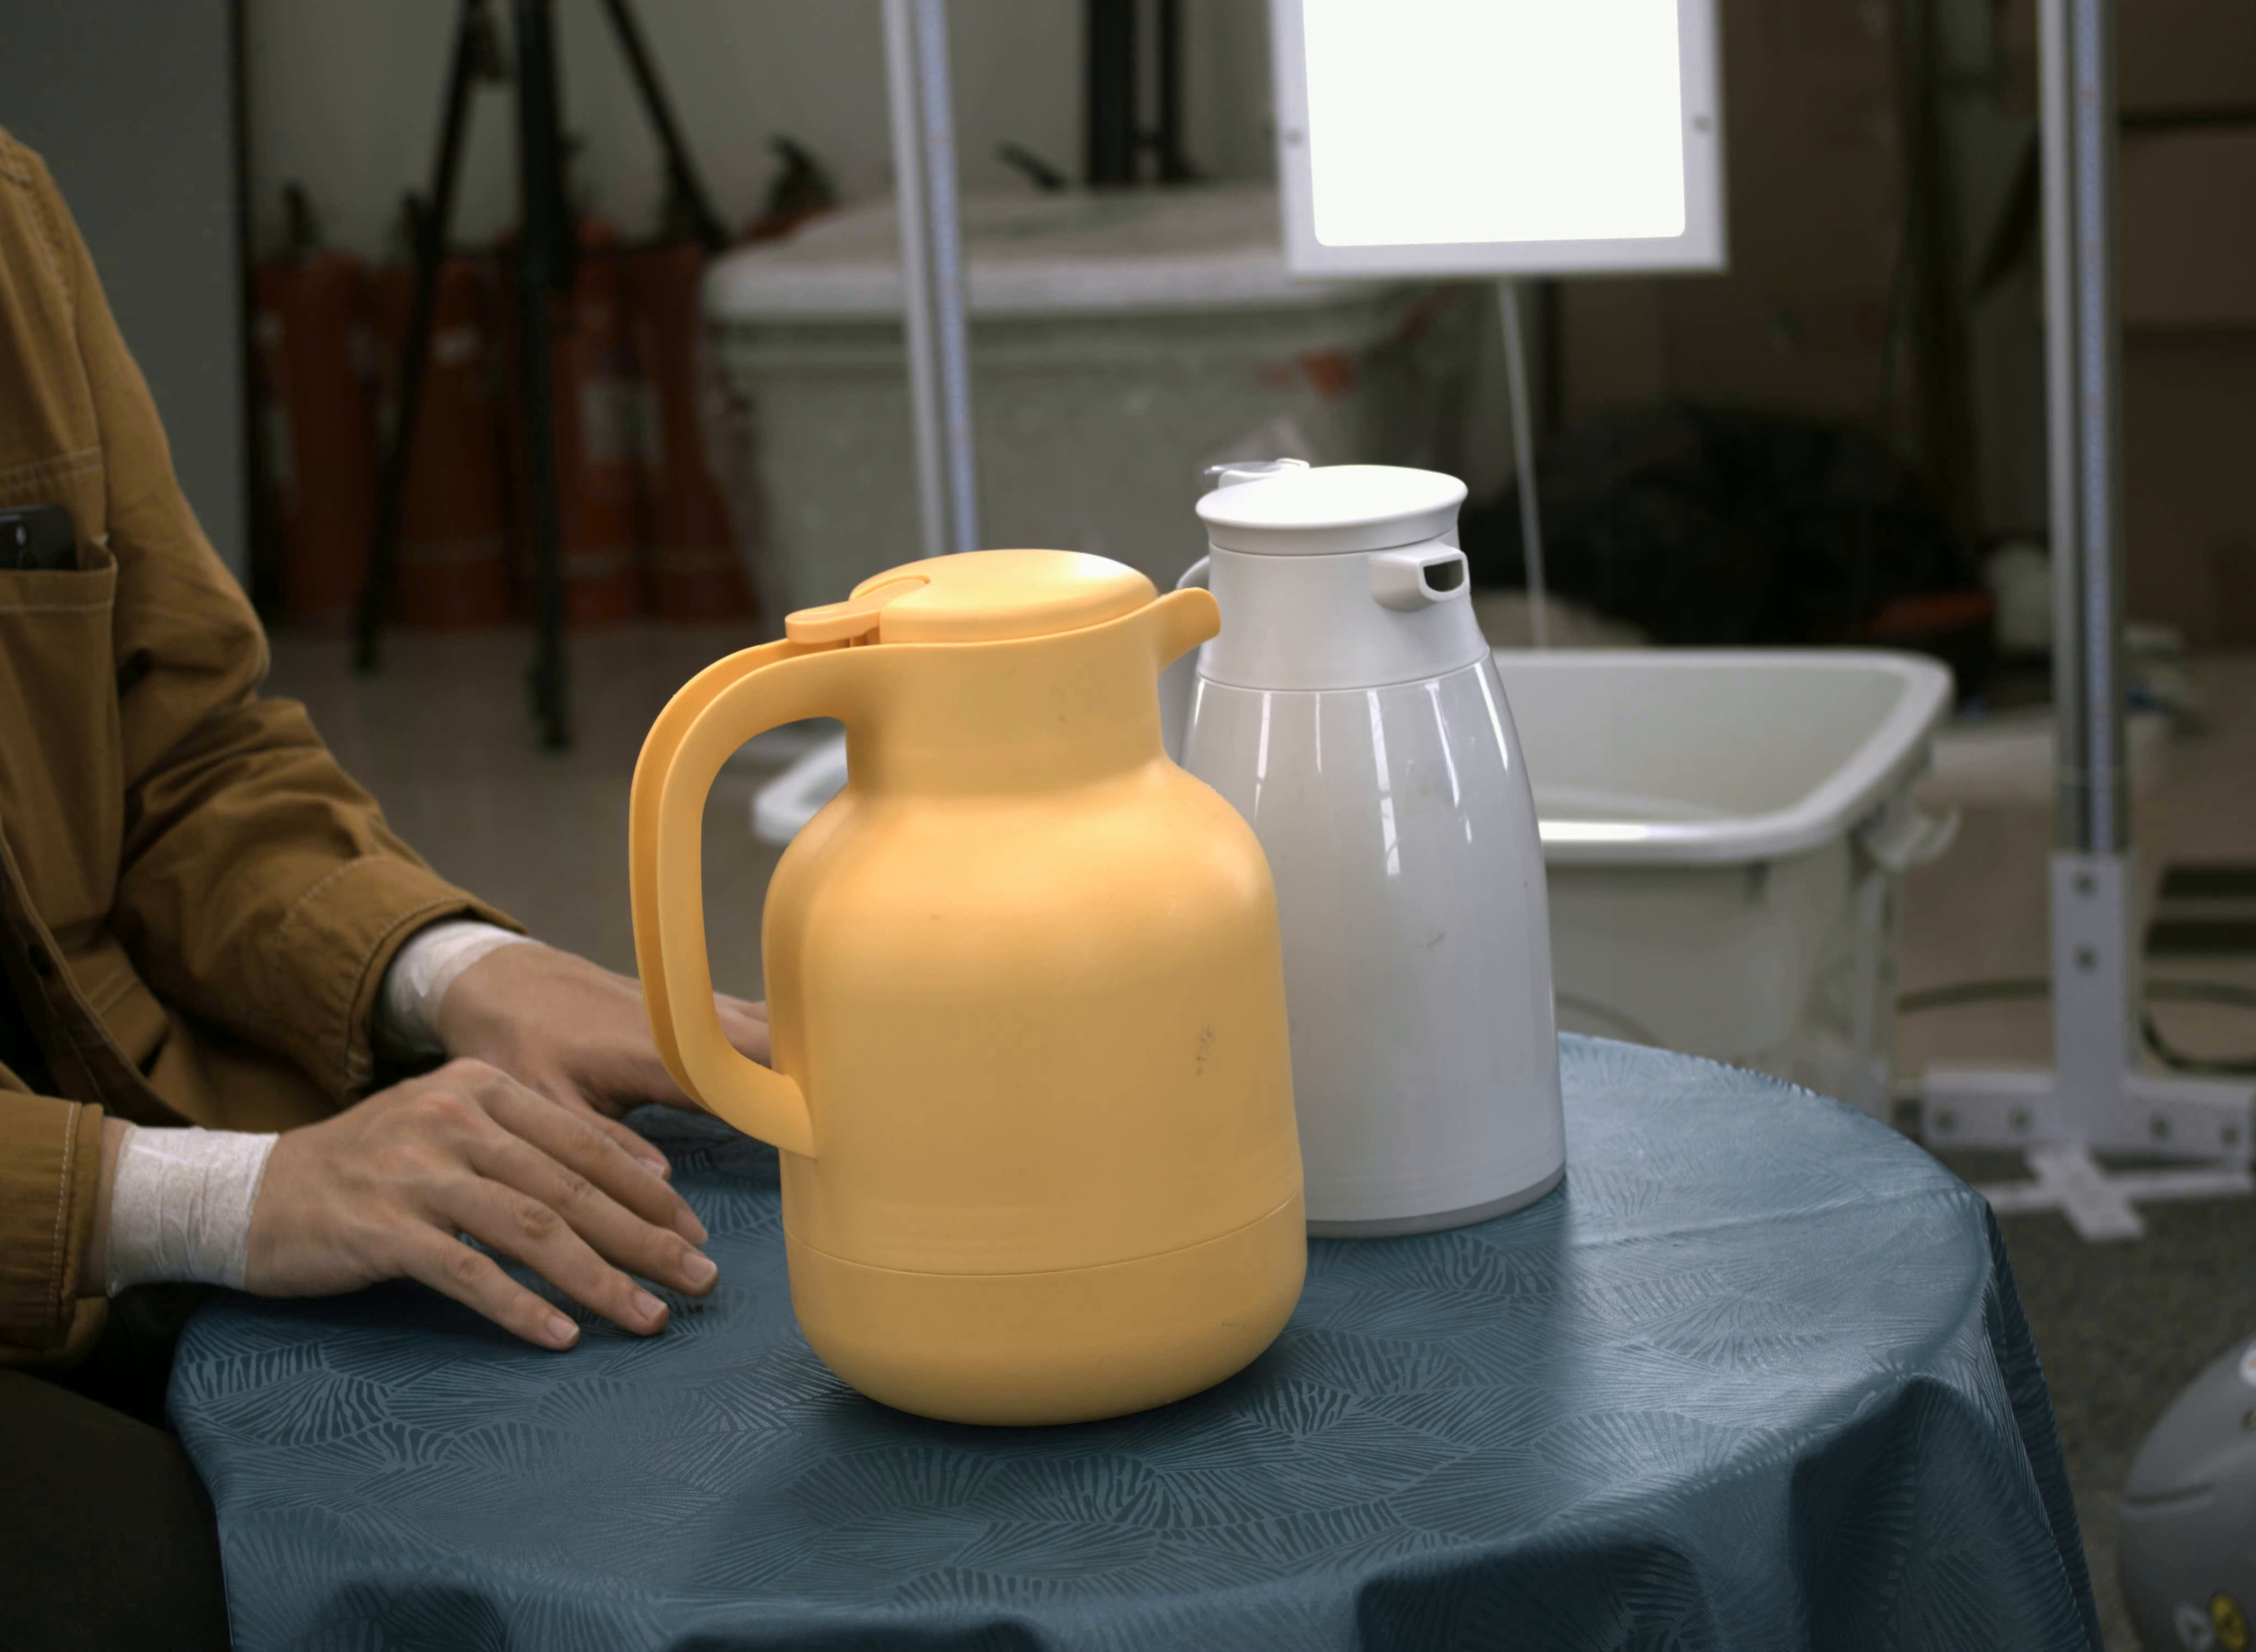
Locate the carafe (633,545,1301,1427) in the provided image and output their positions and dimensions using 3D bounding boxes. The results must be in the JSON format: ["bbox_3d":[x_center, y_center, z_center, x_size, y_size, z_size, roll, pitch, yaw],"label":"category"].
[{"bbox_3d":[-0.051,0.048,1.693,0.199,0.261,0.166,-9,12,-21],"label":"carafe"}]

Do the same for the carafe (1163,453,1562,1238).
[{"bbox_3d":[0.064,-0.001,1.874,0.129,0.249,0.171,-13,16,-31],"label":"carafe"}]
